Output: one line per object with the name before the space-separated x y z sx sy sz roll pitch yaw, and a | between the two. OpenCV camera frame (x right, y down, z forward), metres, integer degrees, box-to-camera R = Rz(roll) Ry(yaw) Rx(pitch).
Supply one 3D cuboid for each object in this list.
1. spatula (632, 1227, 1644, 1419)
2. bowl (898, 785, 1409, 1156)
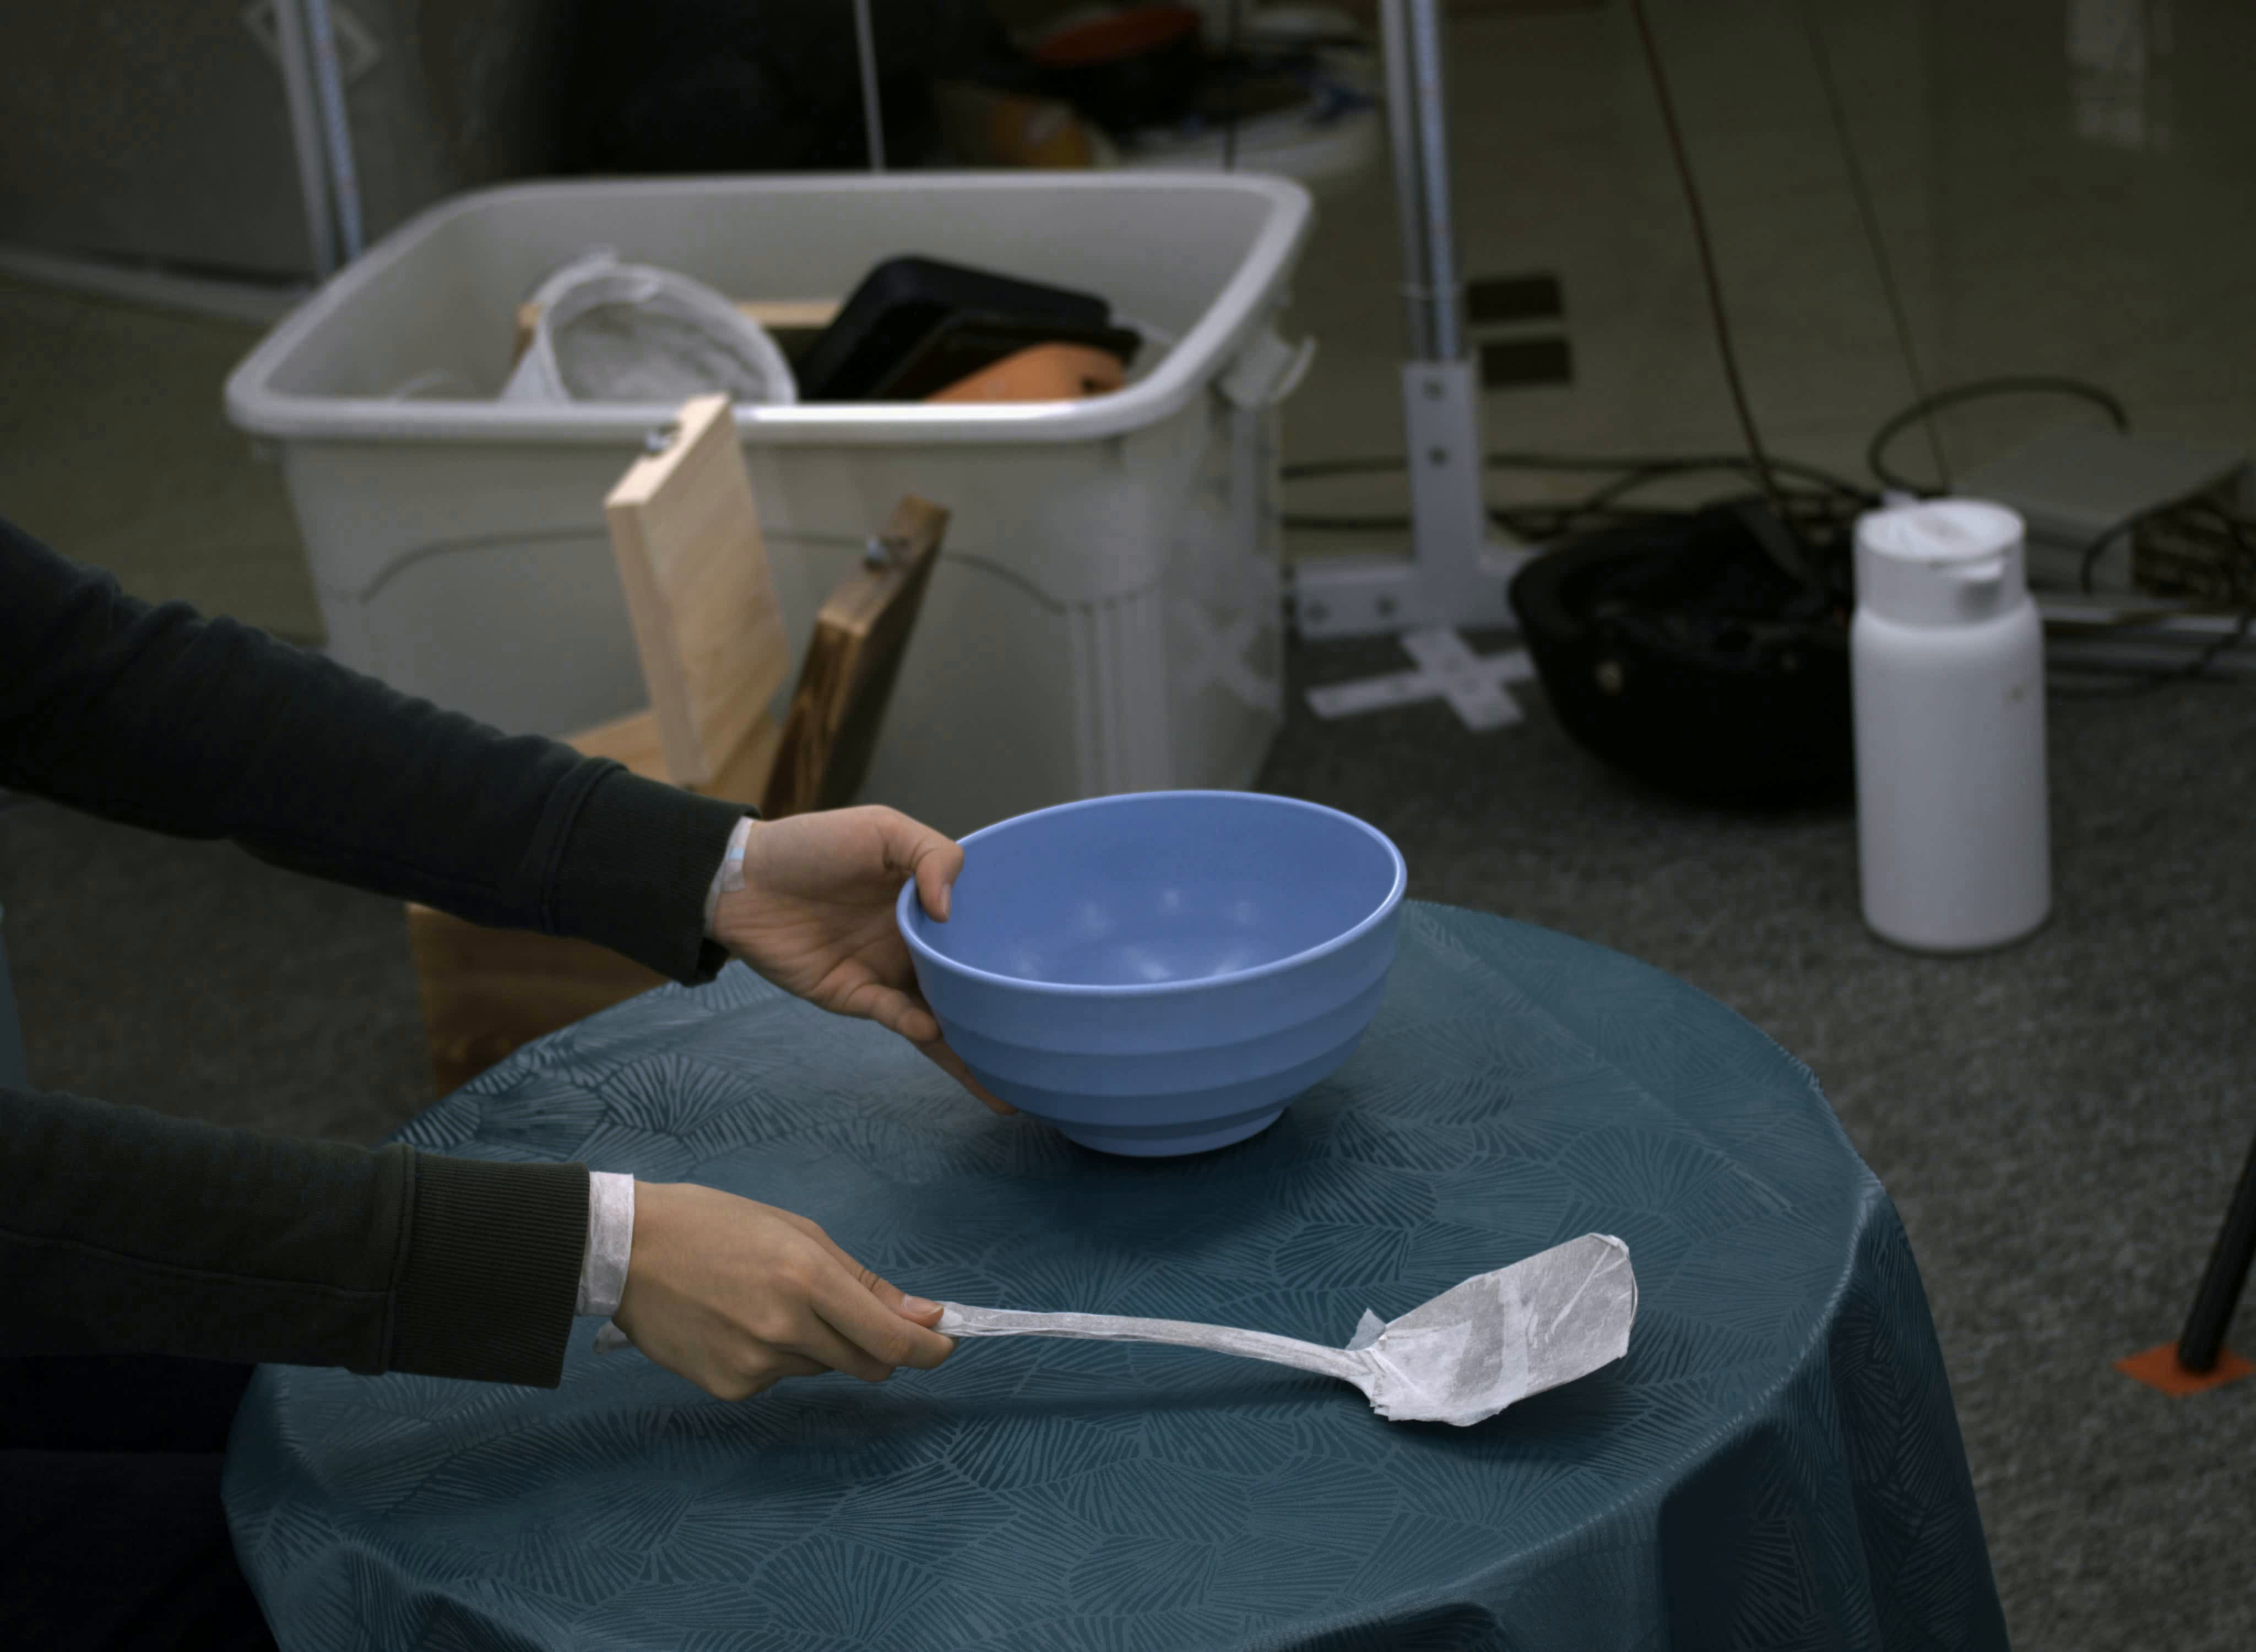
spatula | -0.001 0.173 2.010 0.364 0.045 0.097 3 29 6
bowl | 0.013 0.065 2.186 0.196 0.097 0.194 -4 24 2
